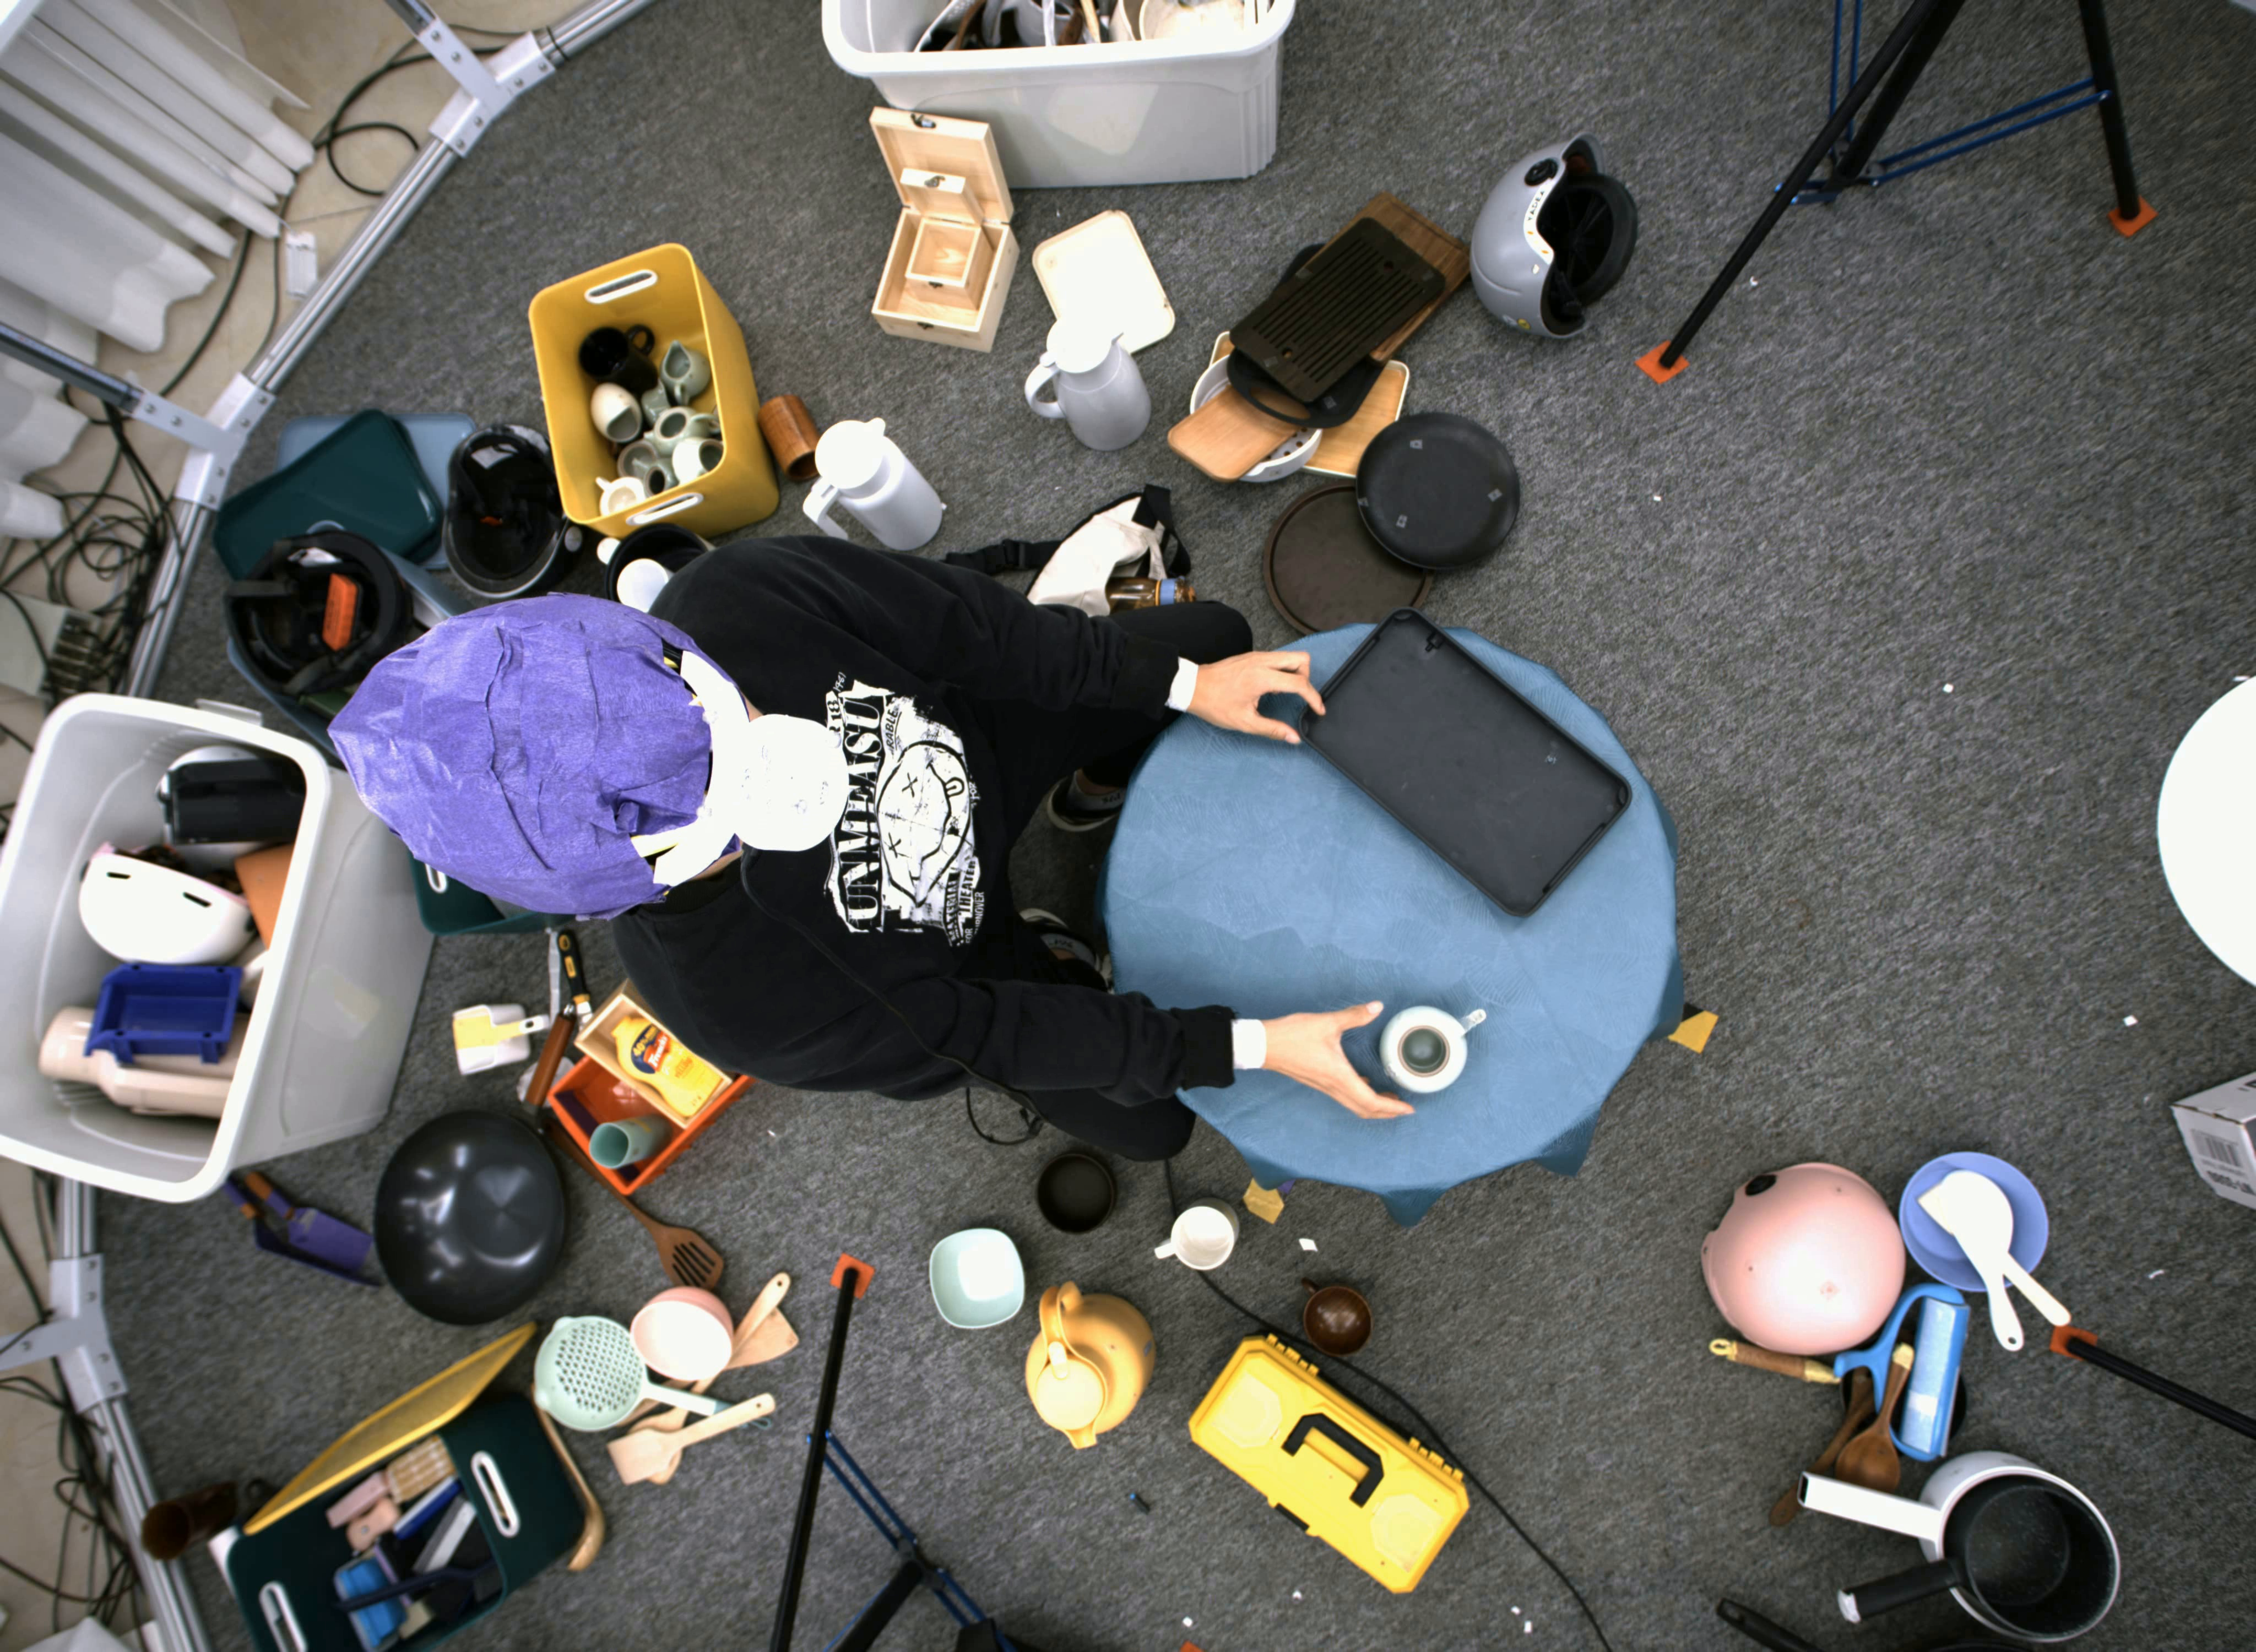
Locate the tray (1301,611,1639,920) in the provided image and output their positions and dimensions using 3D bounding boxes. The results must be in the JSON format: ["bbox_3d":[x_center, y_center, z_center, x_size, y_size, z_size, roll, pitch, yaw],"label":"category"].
[{"bbox_3d":[0.353,-0.066,1.434,0.317,0.037,0.185,40,94,10],"label":"tray"}]

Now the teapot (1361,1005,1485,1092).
[{"bbox_3d":[0.300,0.226,1.411,0.144,0.075,0.088,-32,81,6],"label":"teapot"}]
